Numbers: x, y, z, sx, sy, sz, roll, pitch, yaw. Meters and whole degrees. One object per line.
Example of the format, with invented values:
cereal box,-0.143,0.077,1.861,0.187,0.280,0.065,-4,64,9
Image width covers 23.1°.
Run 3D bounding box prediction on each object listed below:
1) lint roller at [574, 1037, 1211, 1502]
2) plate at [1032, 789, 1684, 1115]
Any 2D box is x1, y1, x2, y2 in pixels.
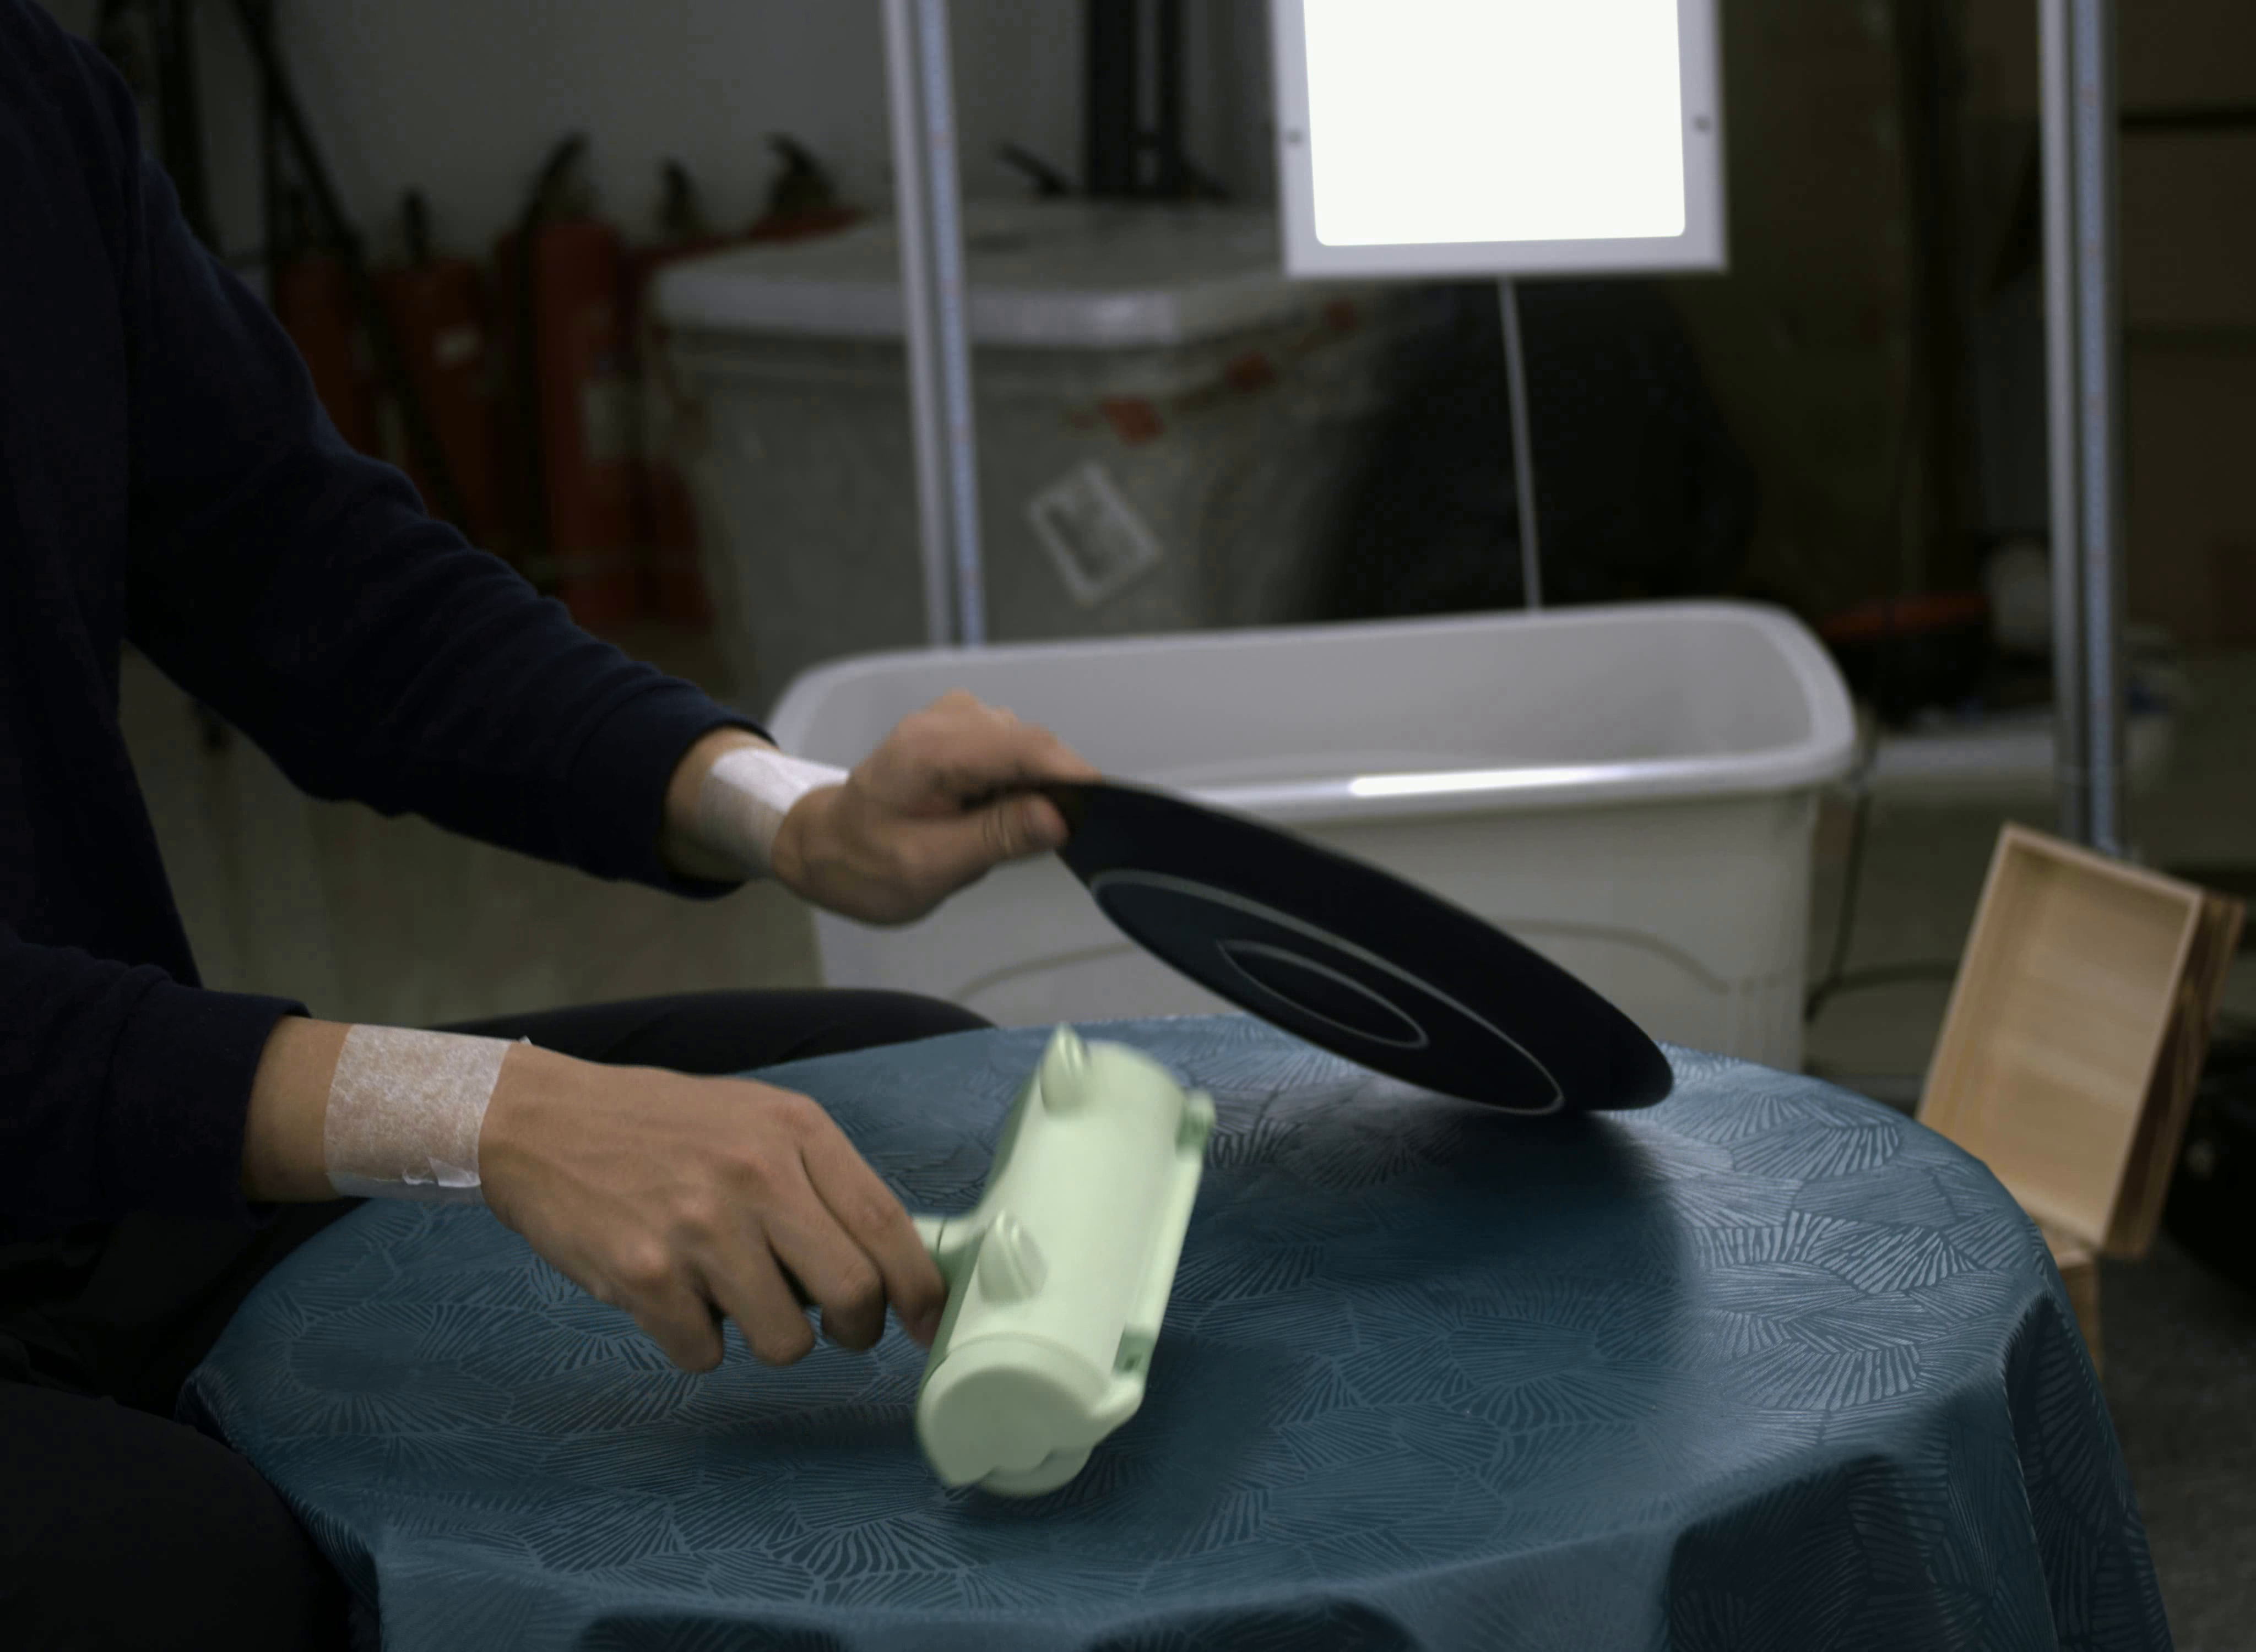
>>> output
lint roller,-0.076,0.118,1.672,0.183,0.083,0.196,11,25,5
plate,0.075,0.051,1.887,0.244,0.023,0.245,24,-11,3
